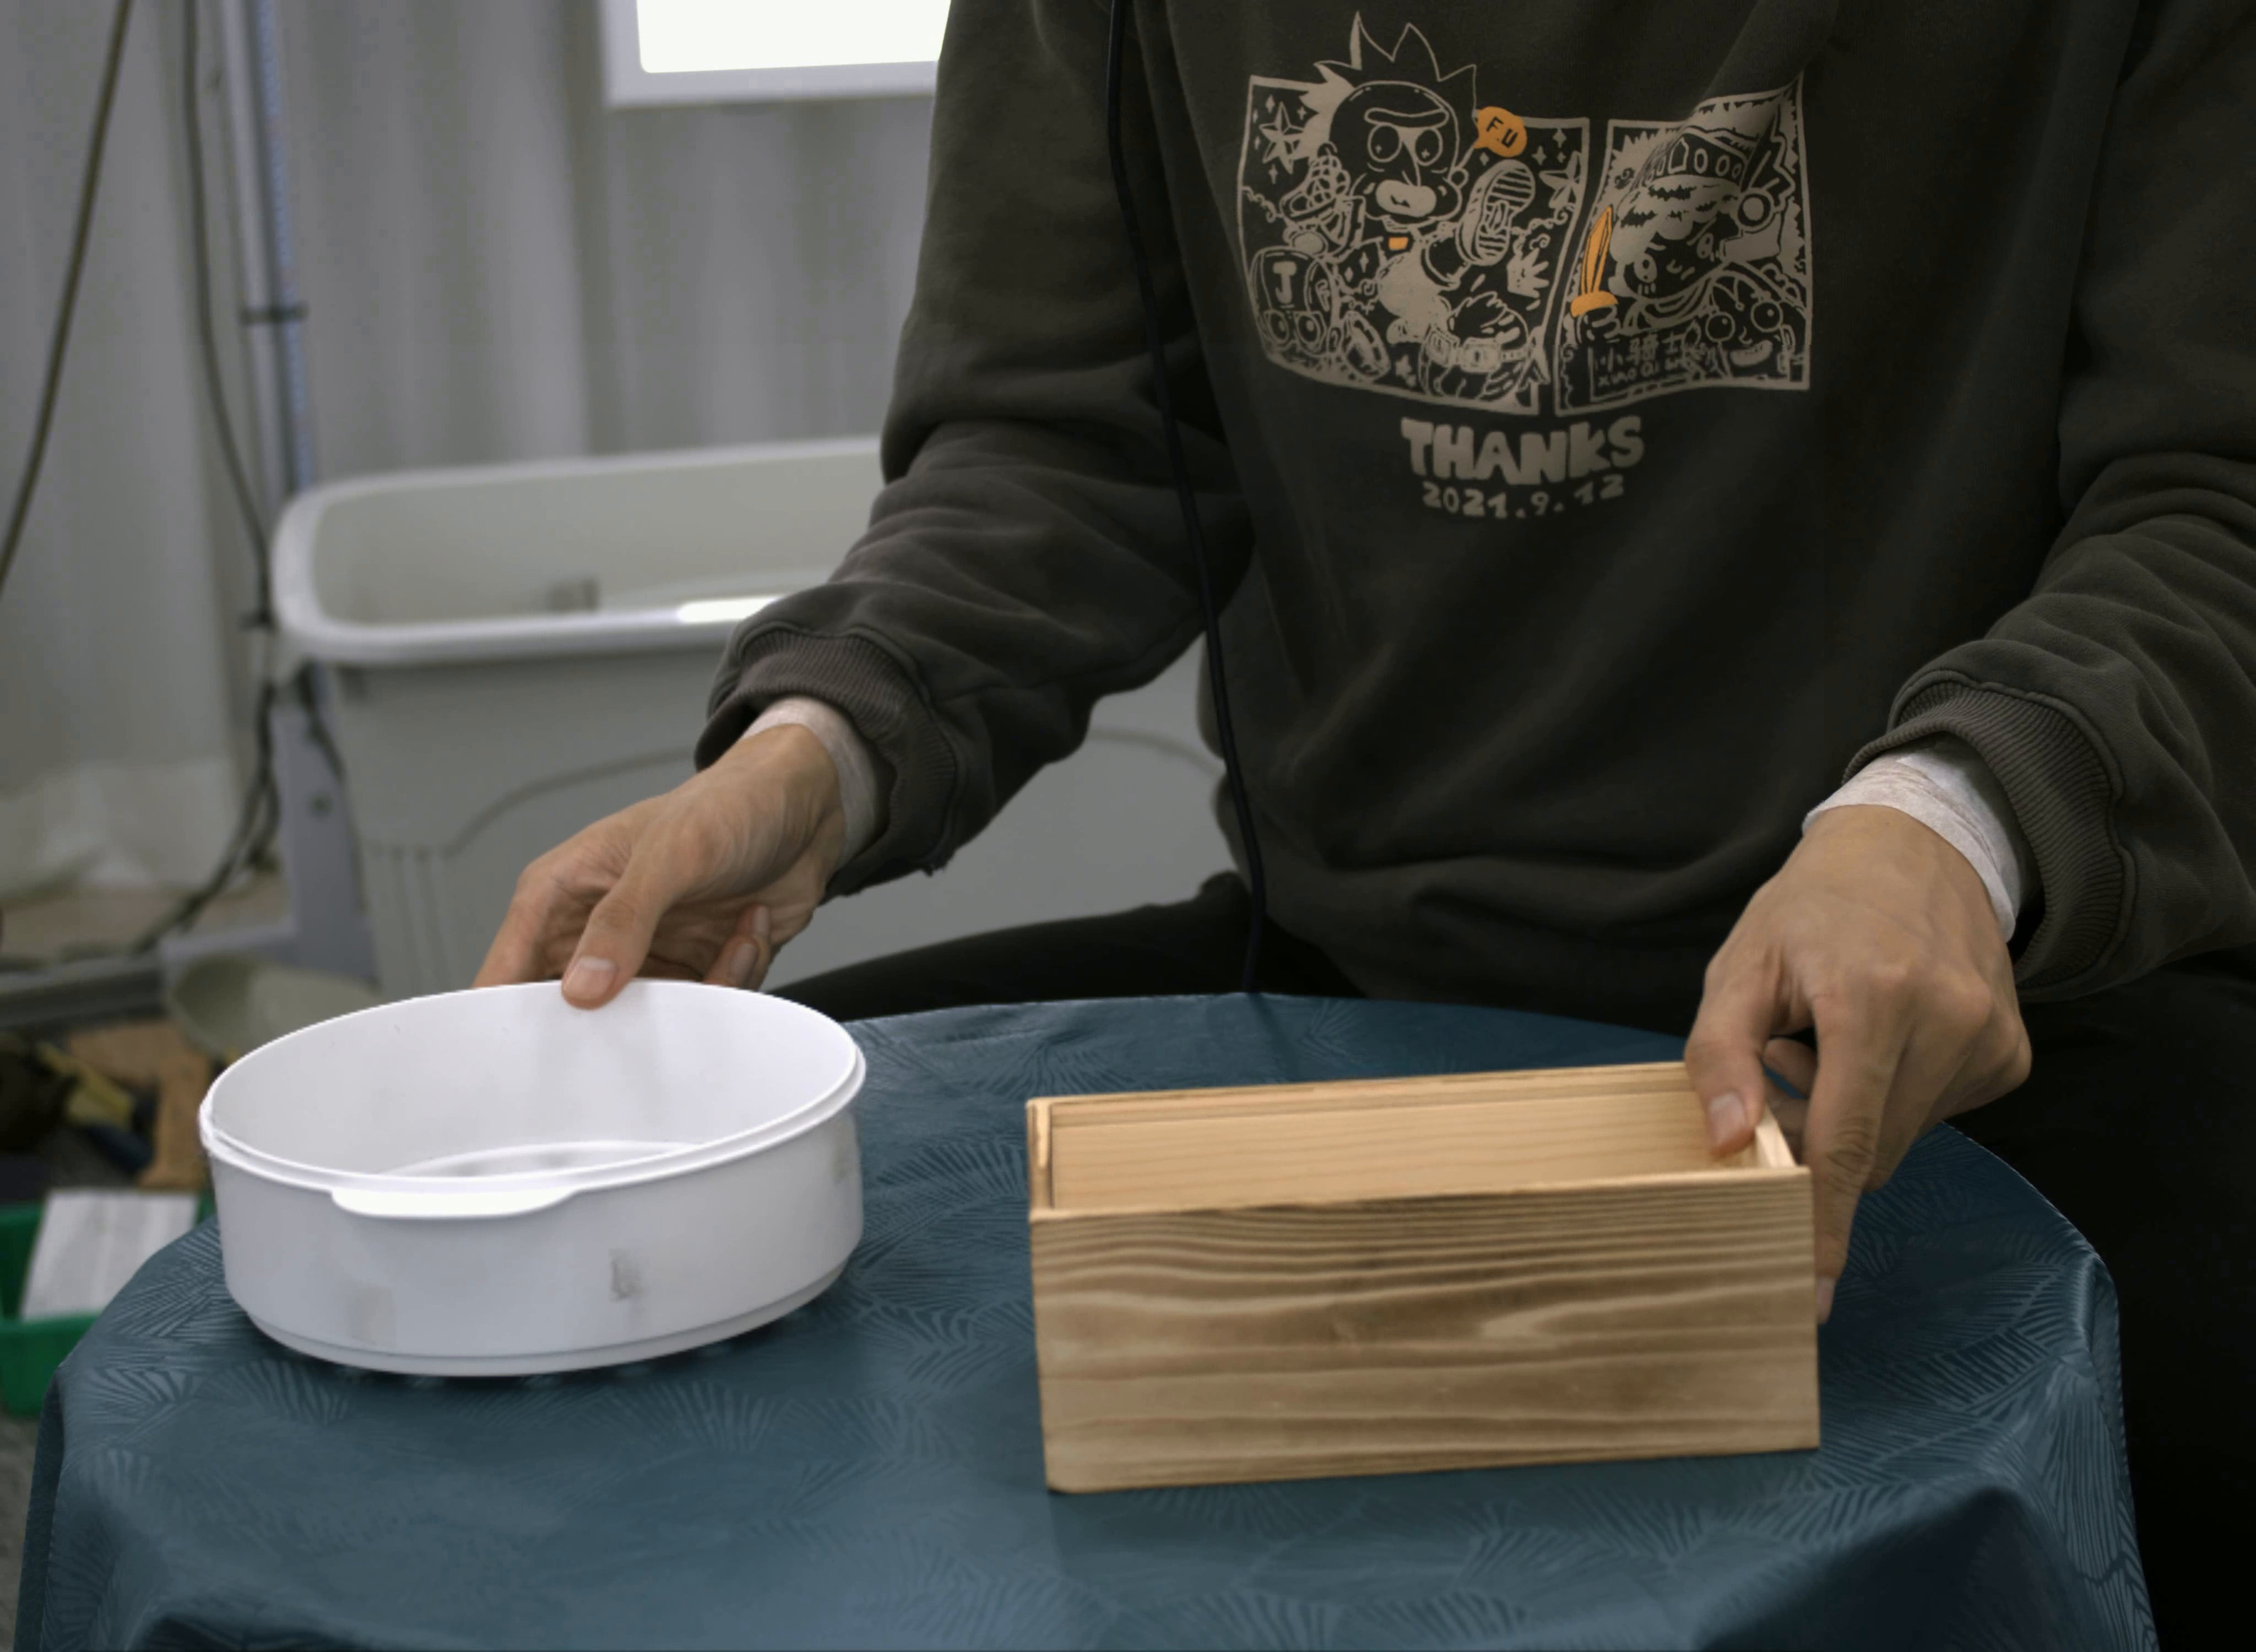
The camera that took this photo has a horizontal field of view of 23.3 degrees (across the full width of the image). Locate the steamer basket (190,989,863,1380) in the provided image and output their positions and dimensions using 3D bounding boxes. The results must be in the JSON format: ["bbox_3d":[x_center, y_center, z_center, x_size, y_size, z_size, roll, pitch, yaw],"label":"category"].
[{"bbox_3d":[-0.179,0.108,1.654,0.201,0.069,0.232,0,14,8],"label":"steamer basket"}]

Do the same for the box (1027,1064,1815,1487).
[{"bbox_3d":[0.079,0.124,1.520,0.211,0.080,0.108,-3,14,0],"label":"box"}]
